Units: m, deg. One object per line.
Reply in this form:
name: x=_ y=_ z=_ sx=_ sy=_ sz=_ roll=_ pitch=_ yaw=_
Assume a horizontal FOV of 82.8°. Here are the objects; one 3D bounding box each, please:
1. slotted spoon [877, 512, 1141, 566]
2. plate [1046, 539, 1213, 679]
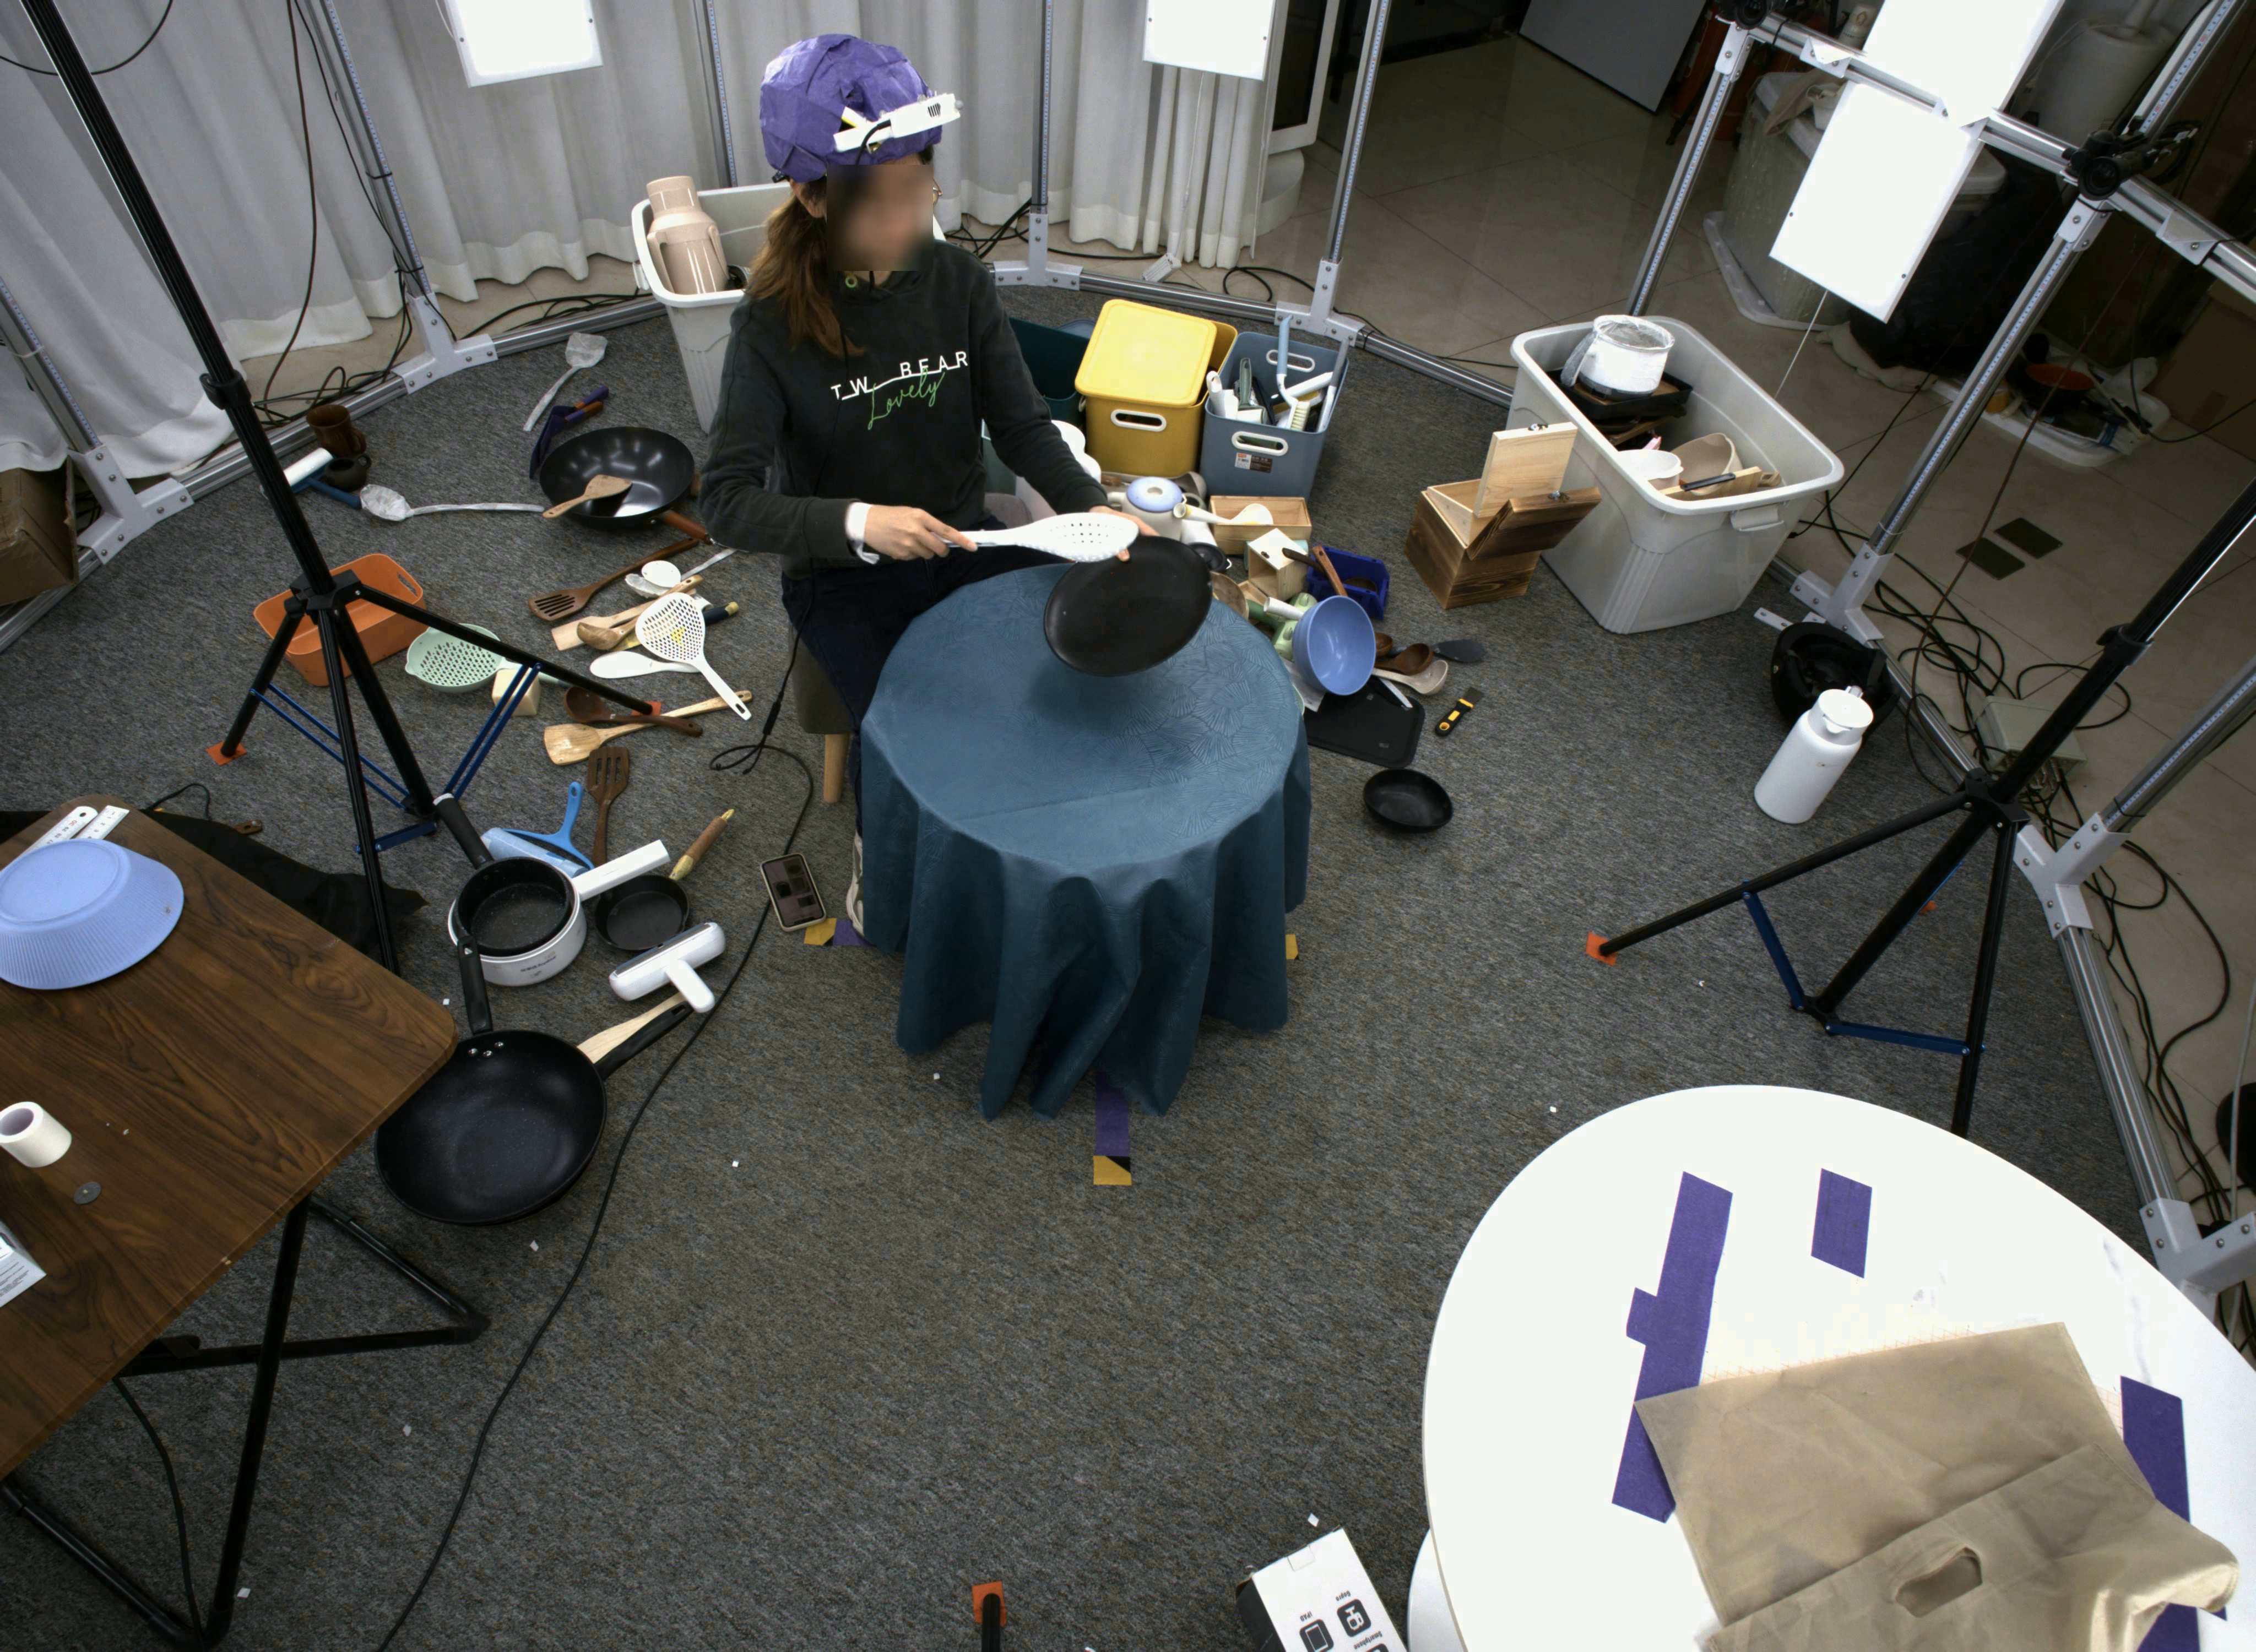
slotted spoon: x=-0.158 y=-0.376 z=1.697 sx=0.350 sy=0.135 sz=0.046 roll=5 pitch=83 yaw=10
plate: x=0.002 y=-0.299 z=1.784 sx=0.244 sy=0.023 sz=0.250 roll=-10 pitch=55 yaw=15
